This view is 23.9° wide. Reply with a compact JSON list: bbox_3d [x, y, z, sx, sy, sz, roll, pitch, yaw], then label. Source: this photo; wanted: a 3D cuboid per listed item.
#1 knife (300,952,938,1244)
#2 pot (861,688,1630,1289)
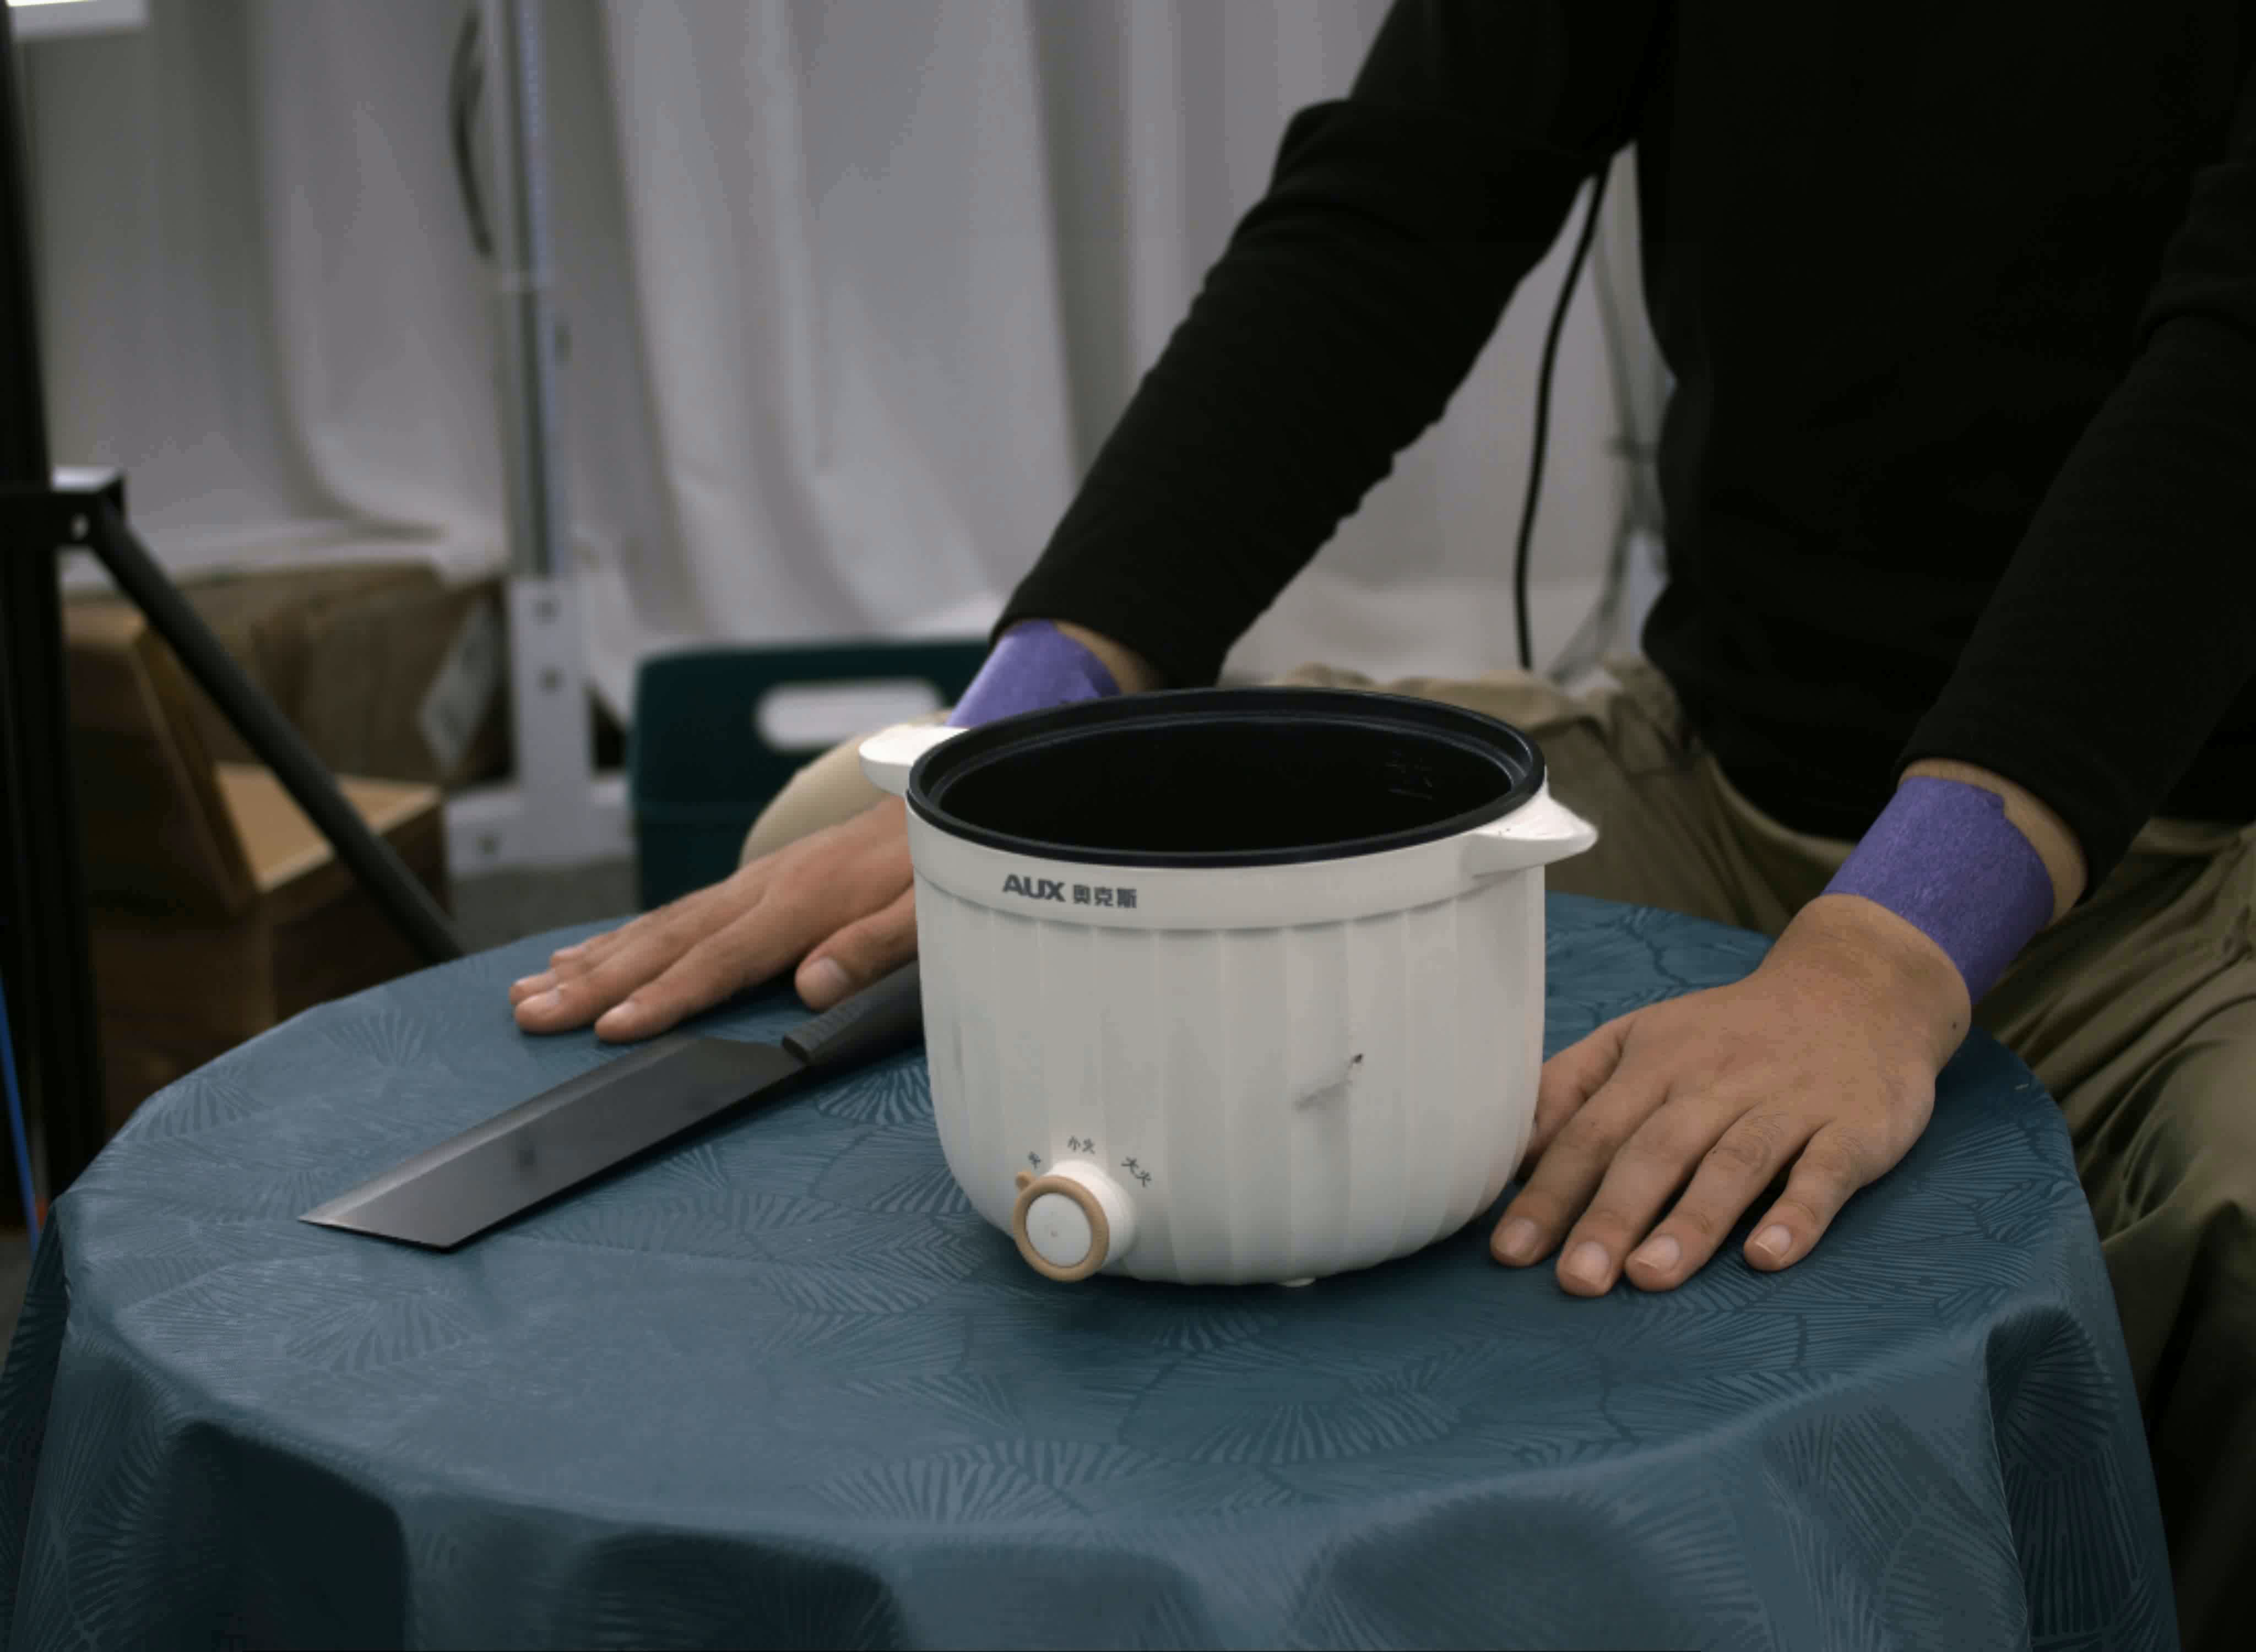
[{"bbox_3d":[-0.132,0.078,1.658,0.083,0.021,0.296,9,22,41],"label":"knife"},{"bbox_3d":[0.029,0.049,1.507,0.245,0.143,0.187,6,14,31],"label":"pot"}]
